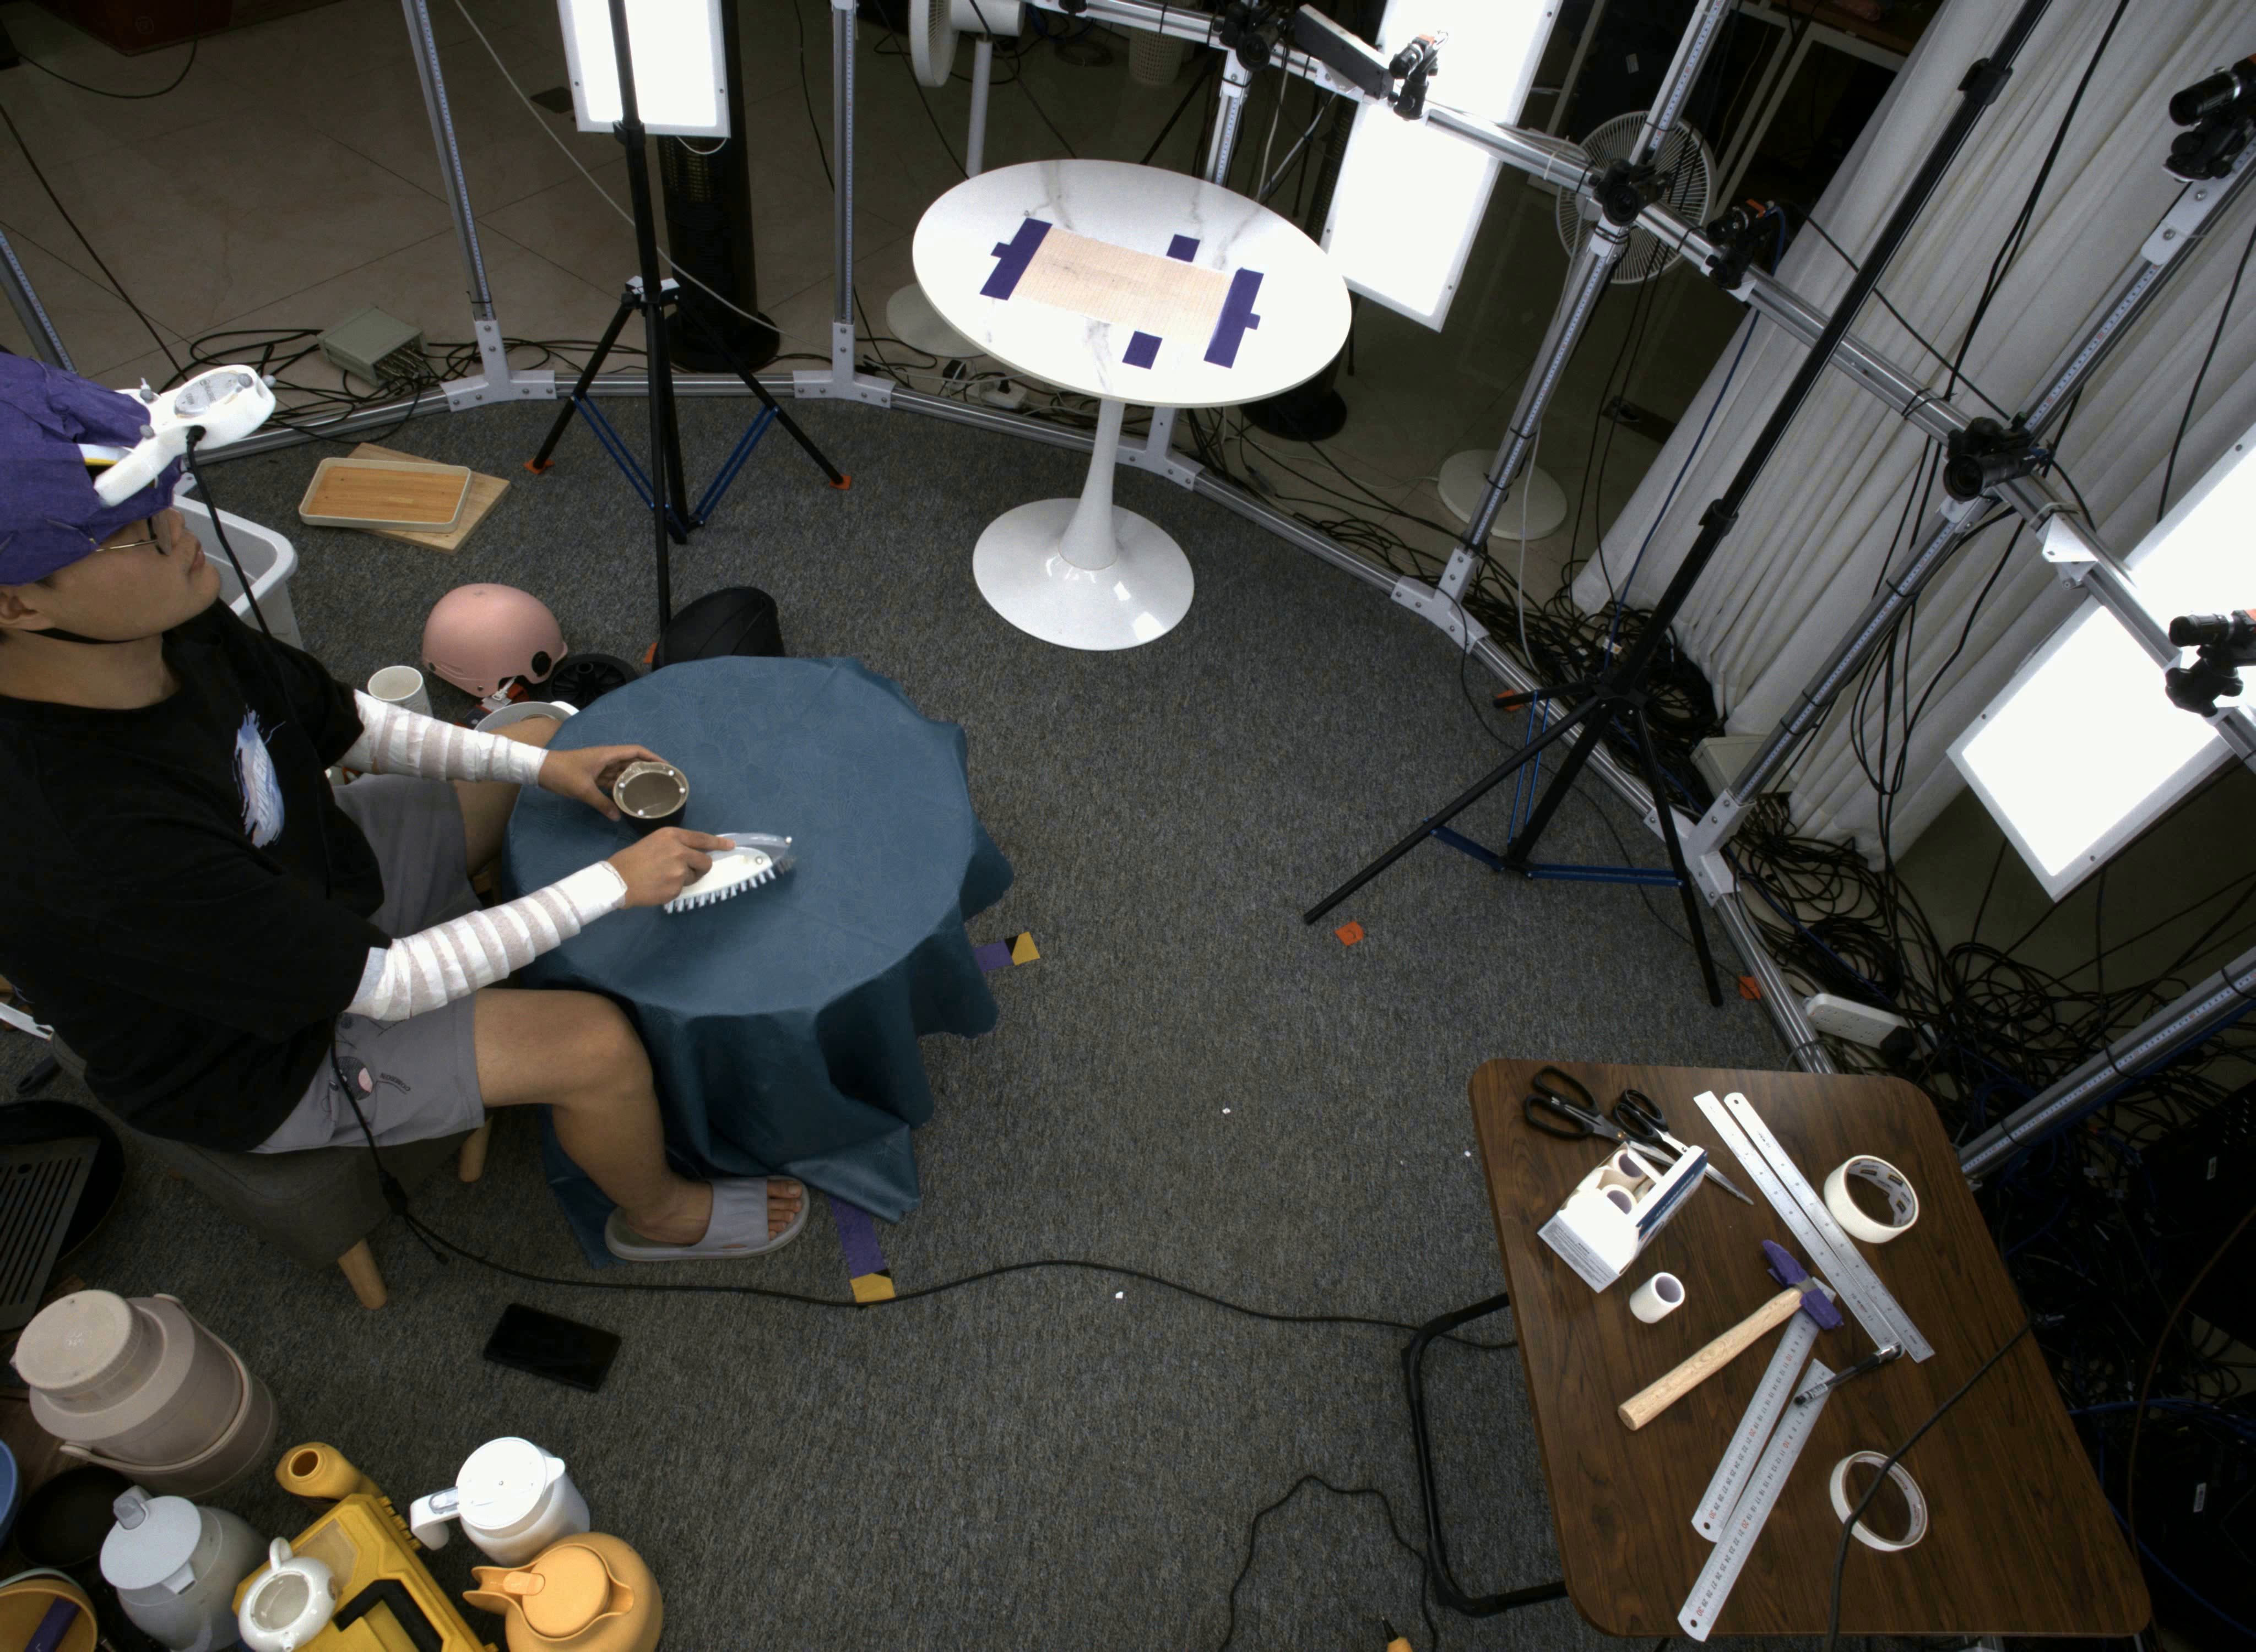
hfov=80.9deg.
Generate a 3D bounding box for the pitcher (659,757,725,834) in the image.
[{"bbox_3d":[-0.568,-0.036,1.679,0.084,0.073,0.093,-27,60,-27],"label":"pitcher"}]

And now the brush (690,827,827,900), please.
[{"bbox_3d":[-0.459,0.031,1.622,0.177,0.095,0.060,-13,64,-28],"label":"brush"}]
